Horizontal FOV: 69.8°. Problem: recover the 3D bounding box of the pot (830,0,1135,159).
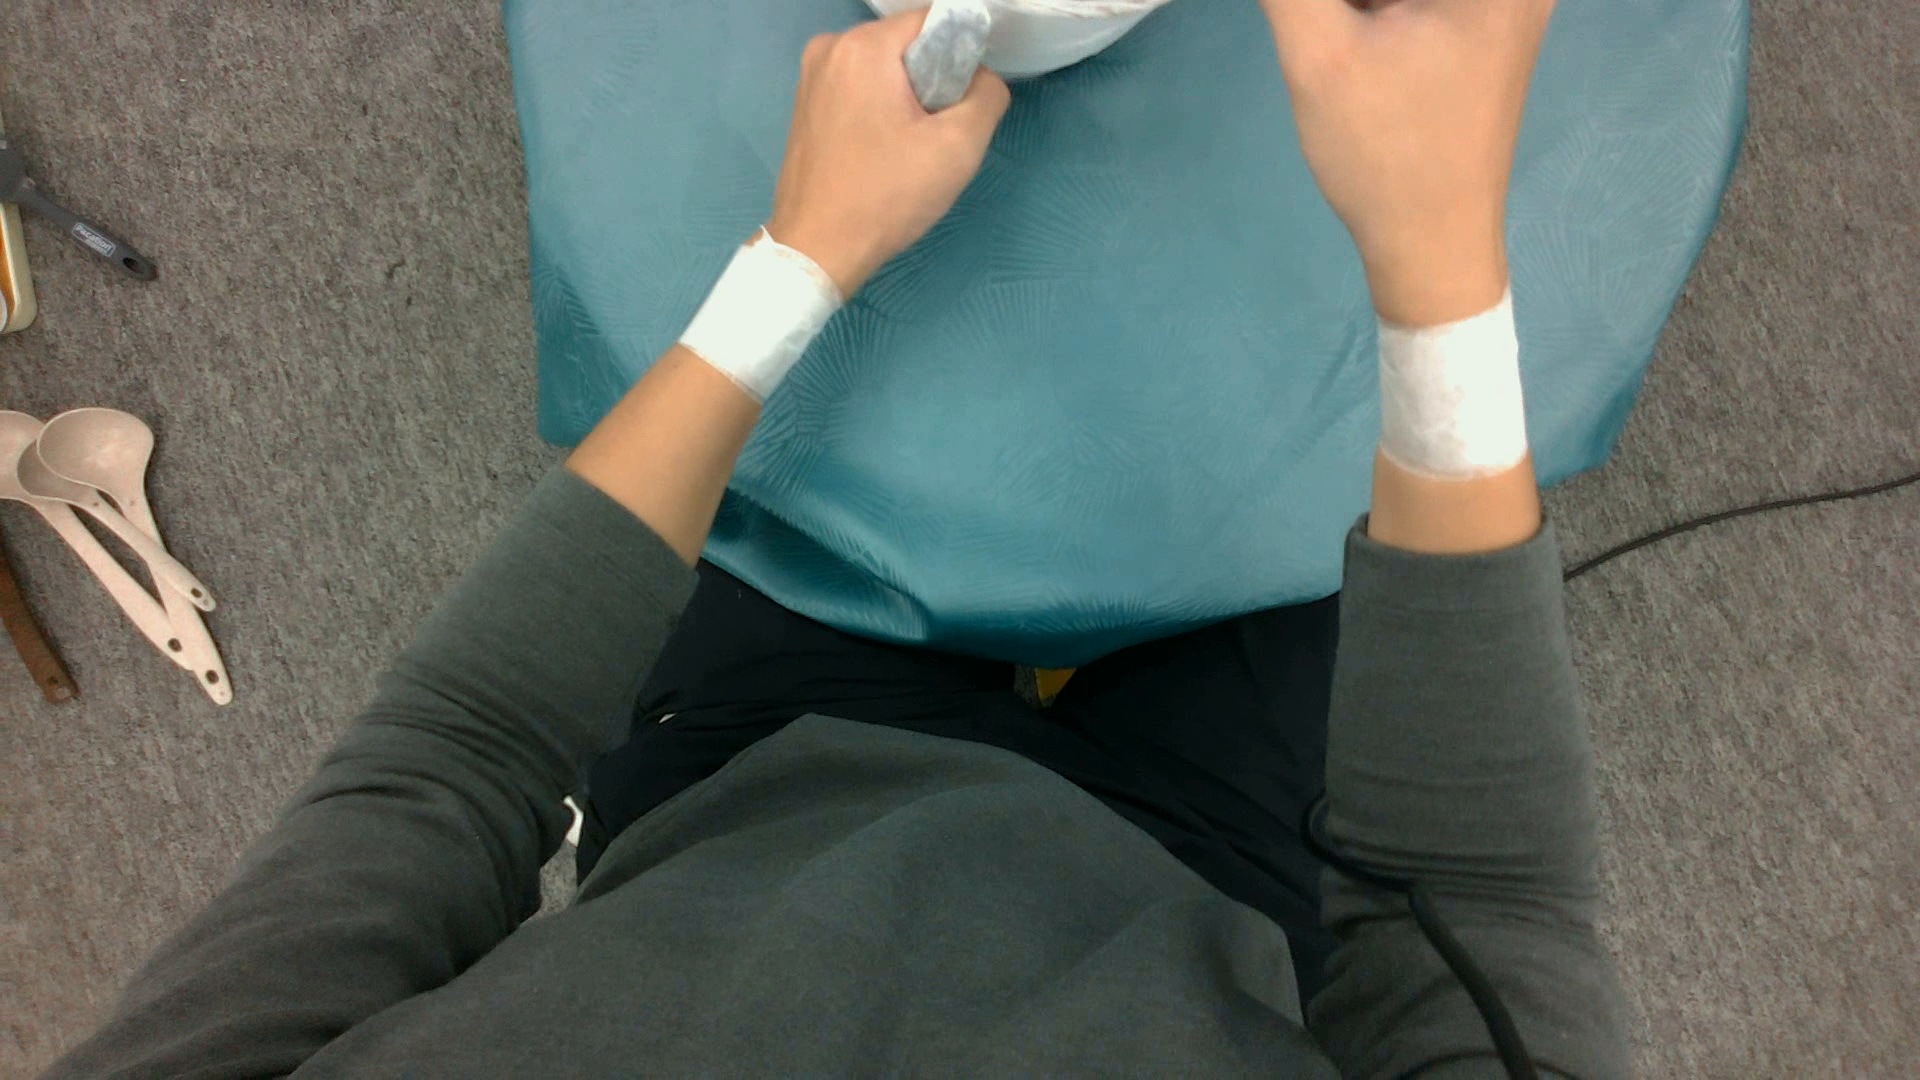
[{"bbox_3d":[0.013,-0.278,0.587,0.179,0.136,0.233,23,90,-15],"label":"pot"}]
